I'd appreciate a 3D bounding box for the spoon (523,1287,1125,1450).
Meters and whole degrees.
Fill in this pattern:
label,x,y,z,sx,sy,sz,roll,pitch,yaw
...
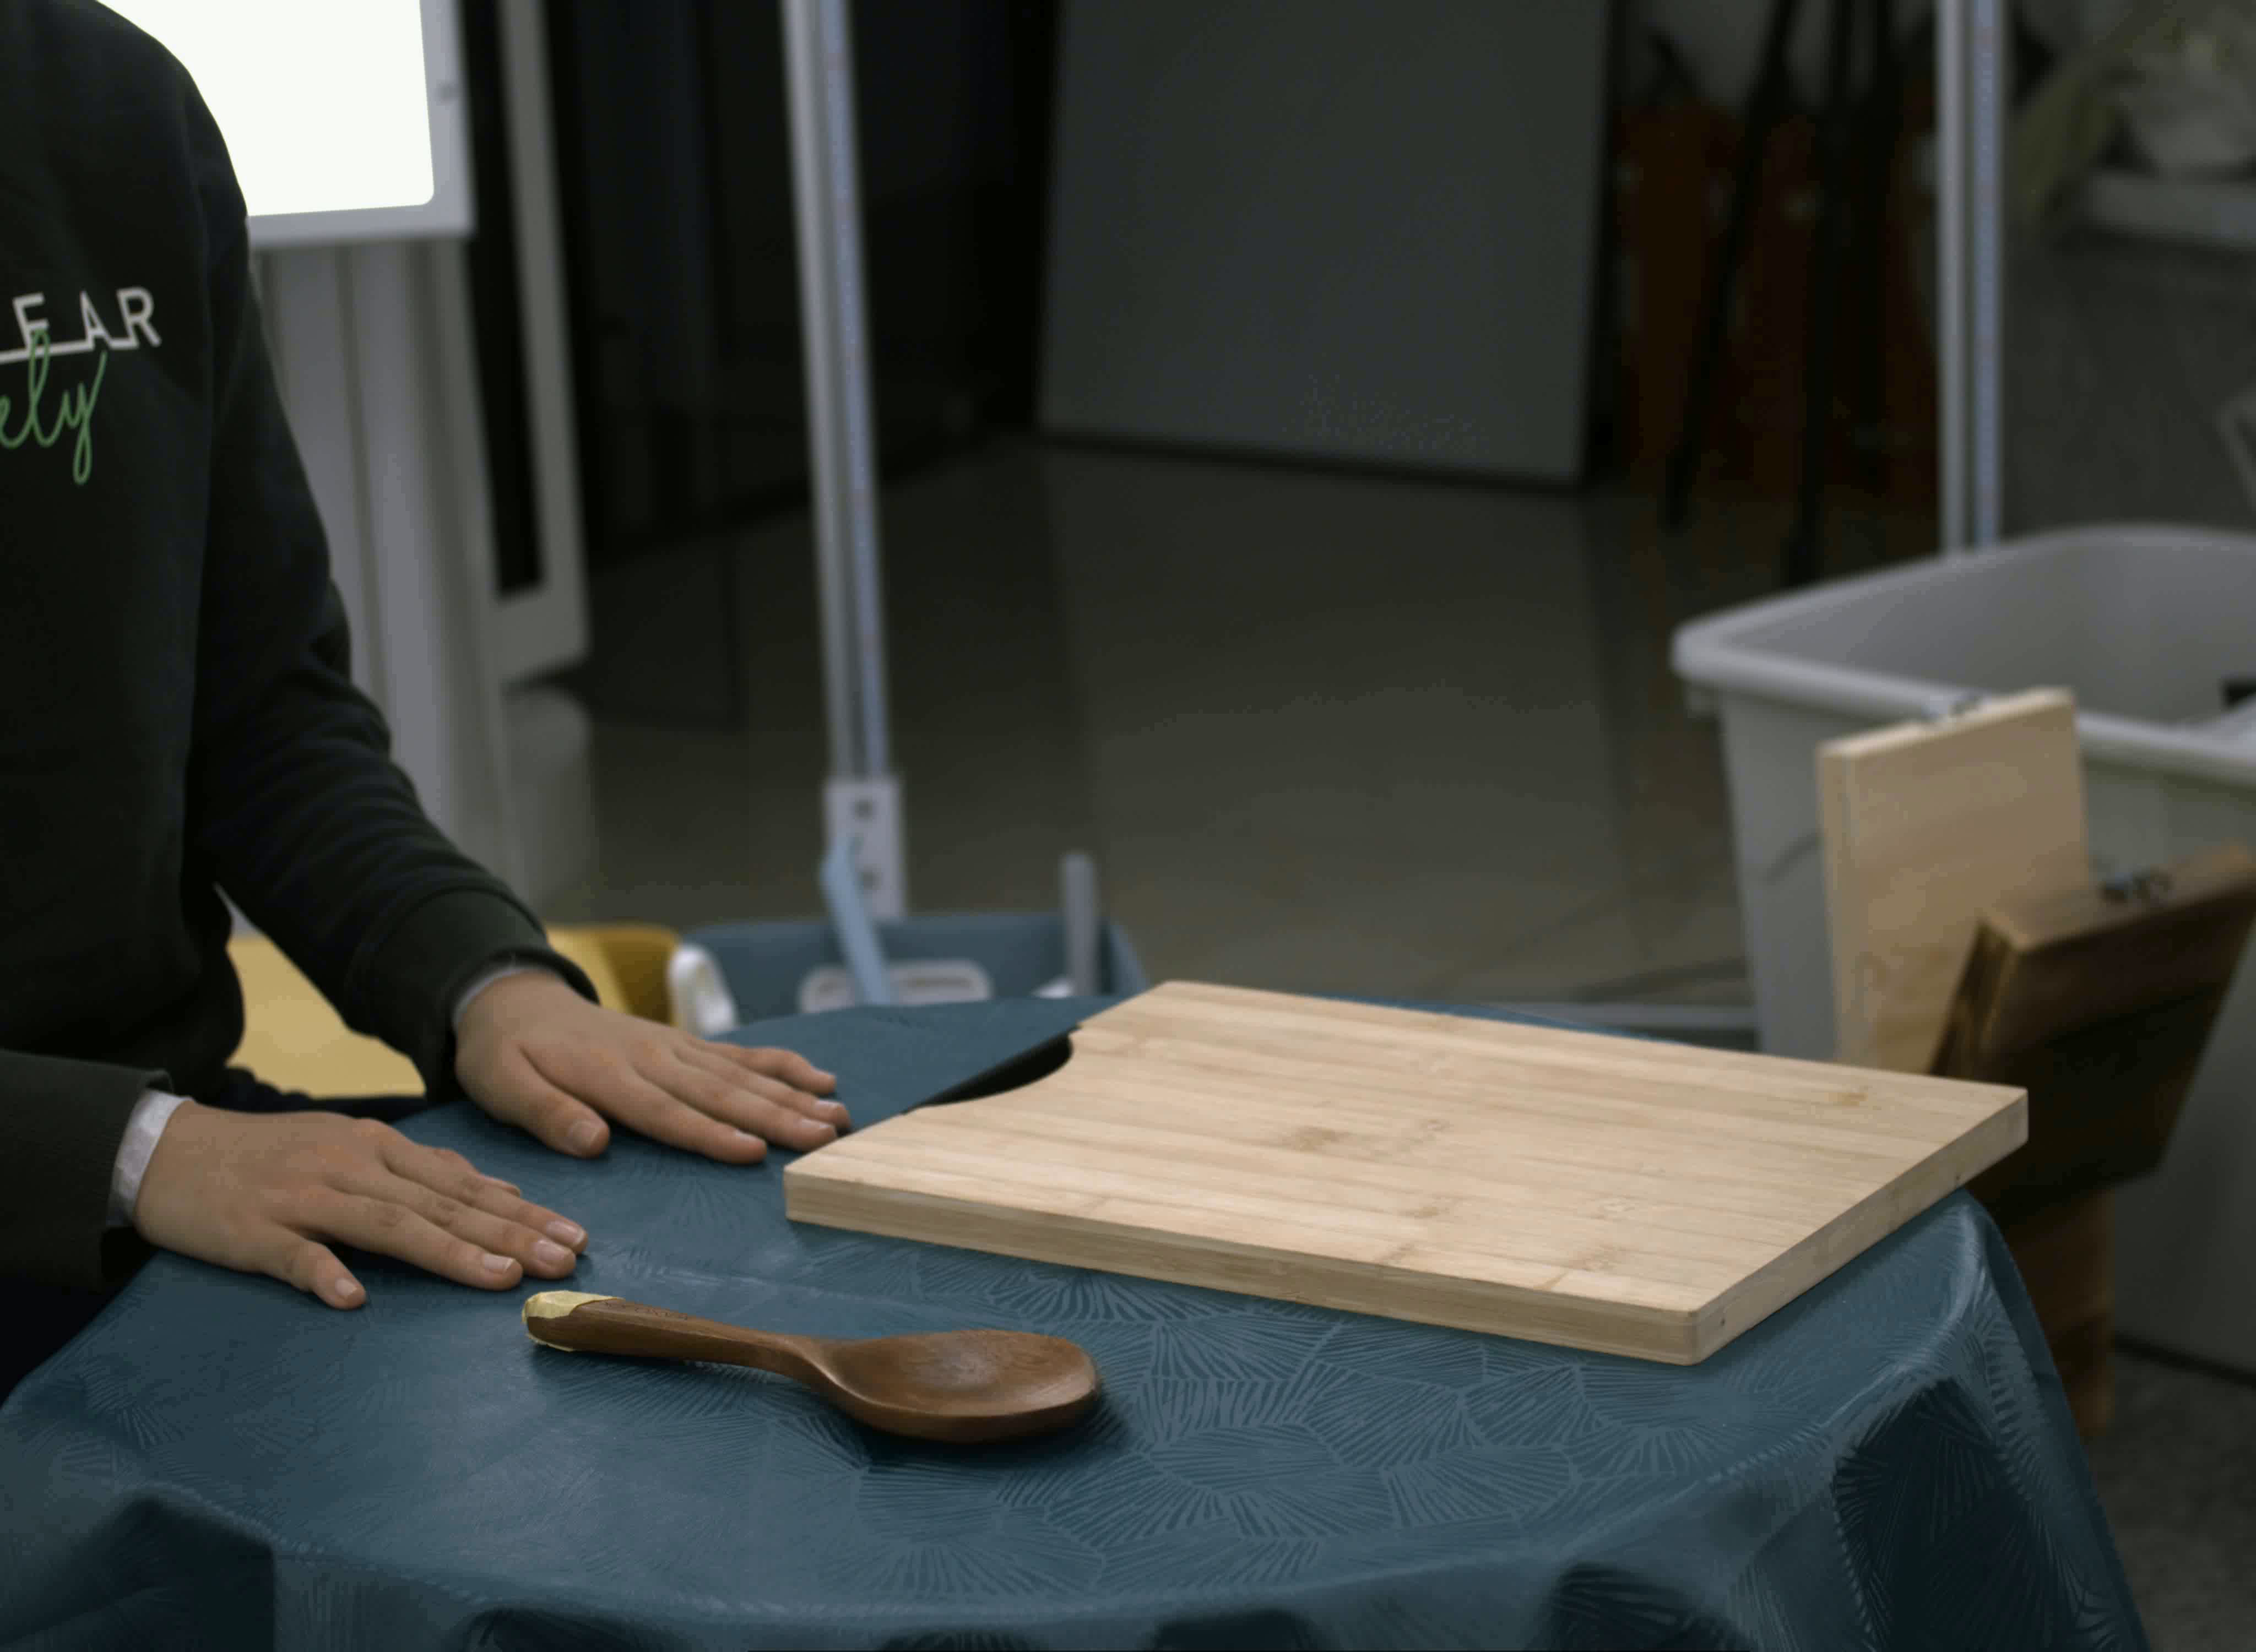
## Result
label,x,y,z,sx,sy,sz,roll,pitch,yaw
spoon,-0.094,0.160,1.605,0.217,0.017,0.074,7,18,35

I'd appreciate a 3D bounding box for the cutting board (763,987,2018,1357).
label,x,y,z,sx,sy,sz,roll,pitch,yaw
cutting board,0.086,0.108,1.765,0.350,0.024,0.246,5,16,33
